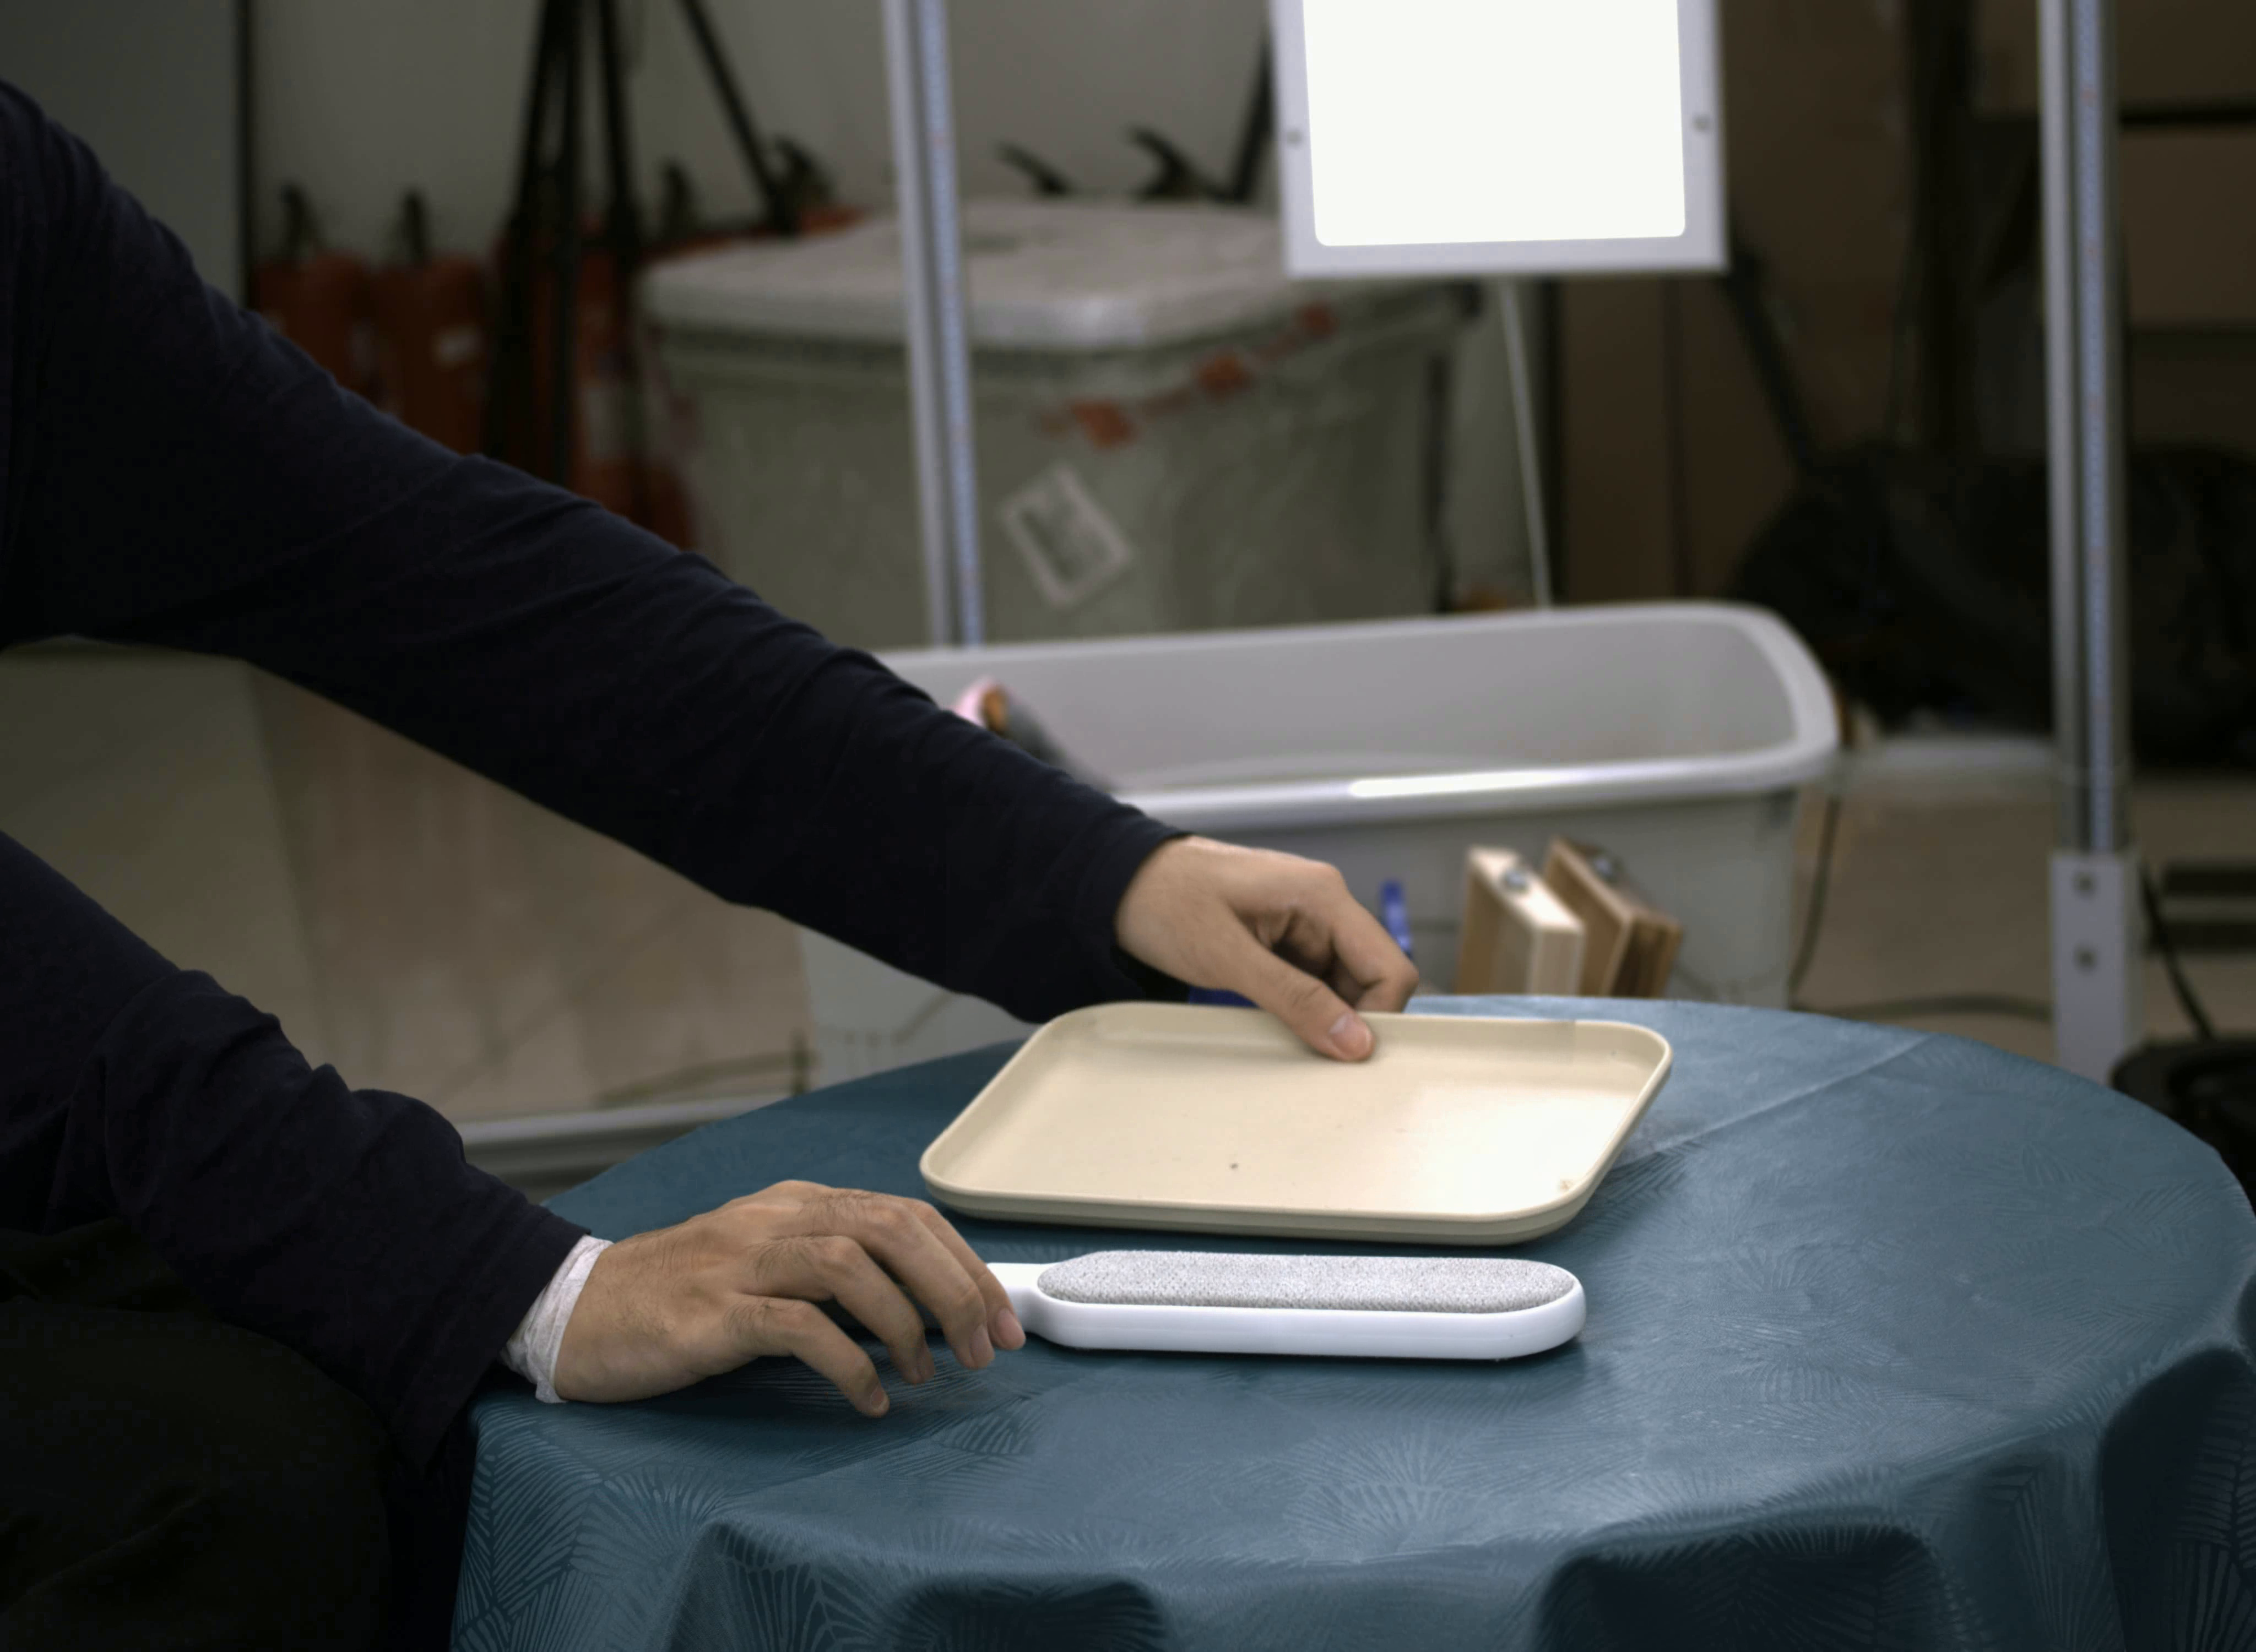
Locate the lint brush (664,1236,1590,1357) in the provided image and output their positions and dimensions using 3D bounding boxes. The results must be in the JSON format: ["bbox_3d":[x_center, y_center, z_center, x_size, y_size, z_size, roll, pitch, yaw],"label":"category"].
[{"bbox_3d":[-0.004,0.148,1.759,0.313,0.021,0.059,0,20,20],"label":"lint brush"}]

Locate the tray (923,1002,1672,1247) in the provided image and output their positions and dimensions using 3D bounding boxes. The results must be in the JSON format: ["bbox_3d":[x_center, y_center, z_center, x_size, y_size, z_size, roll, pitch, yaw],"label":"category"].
[{"bbox_3d":[0.060,0.103,1.907,0.243,0.017,0.168,1,22,22],"label":"tray"}]
